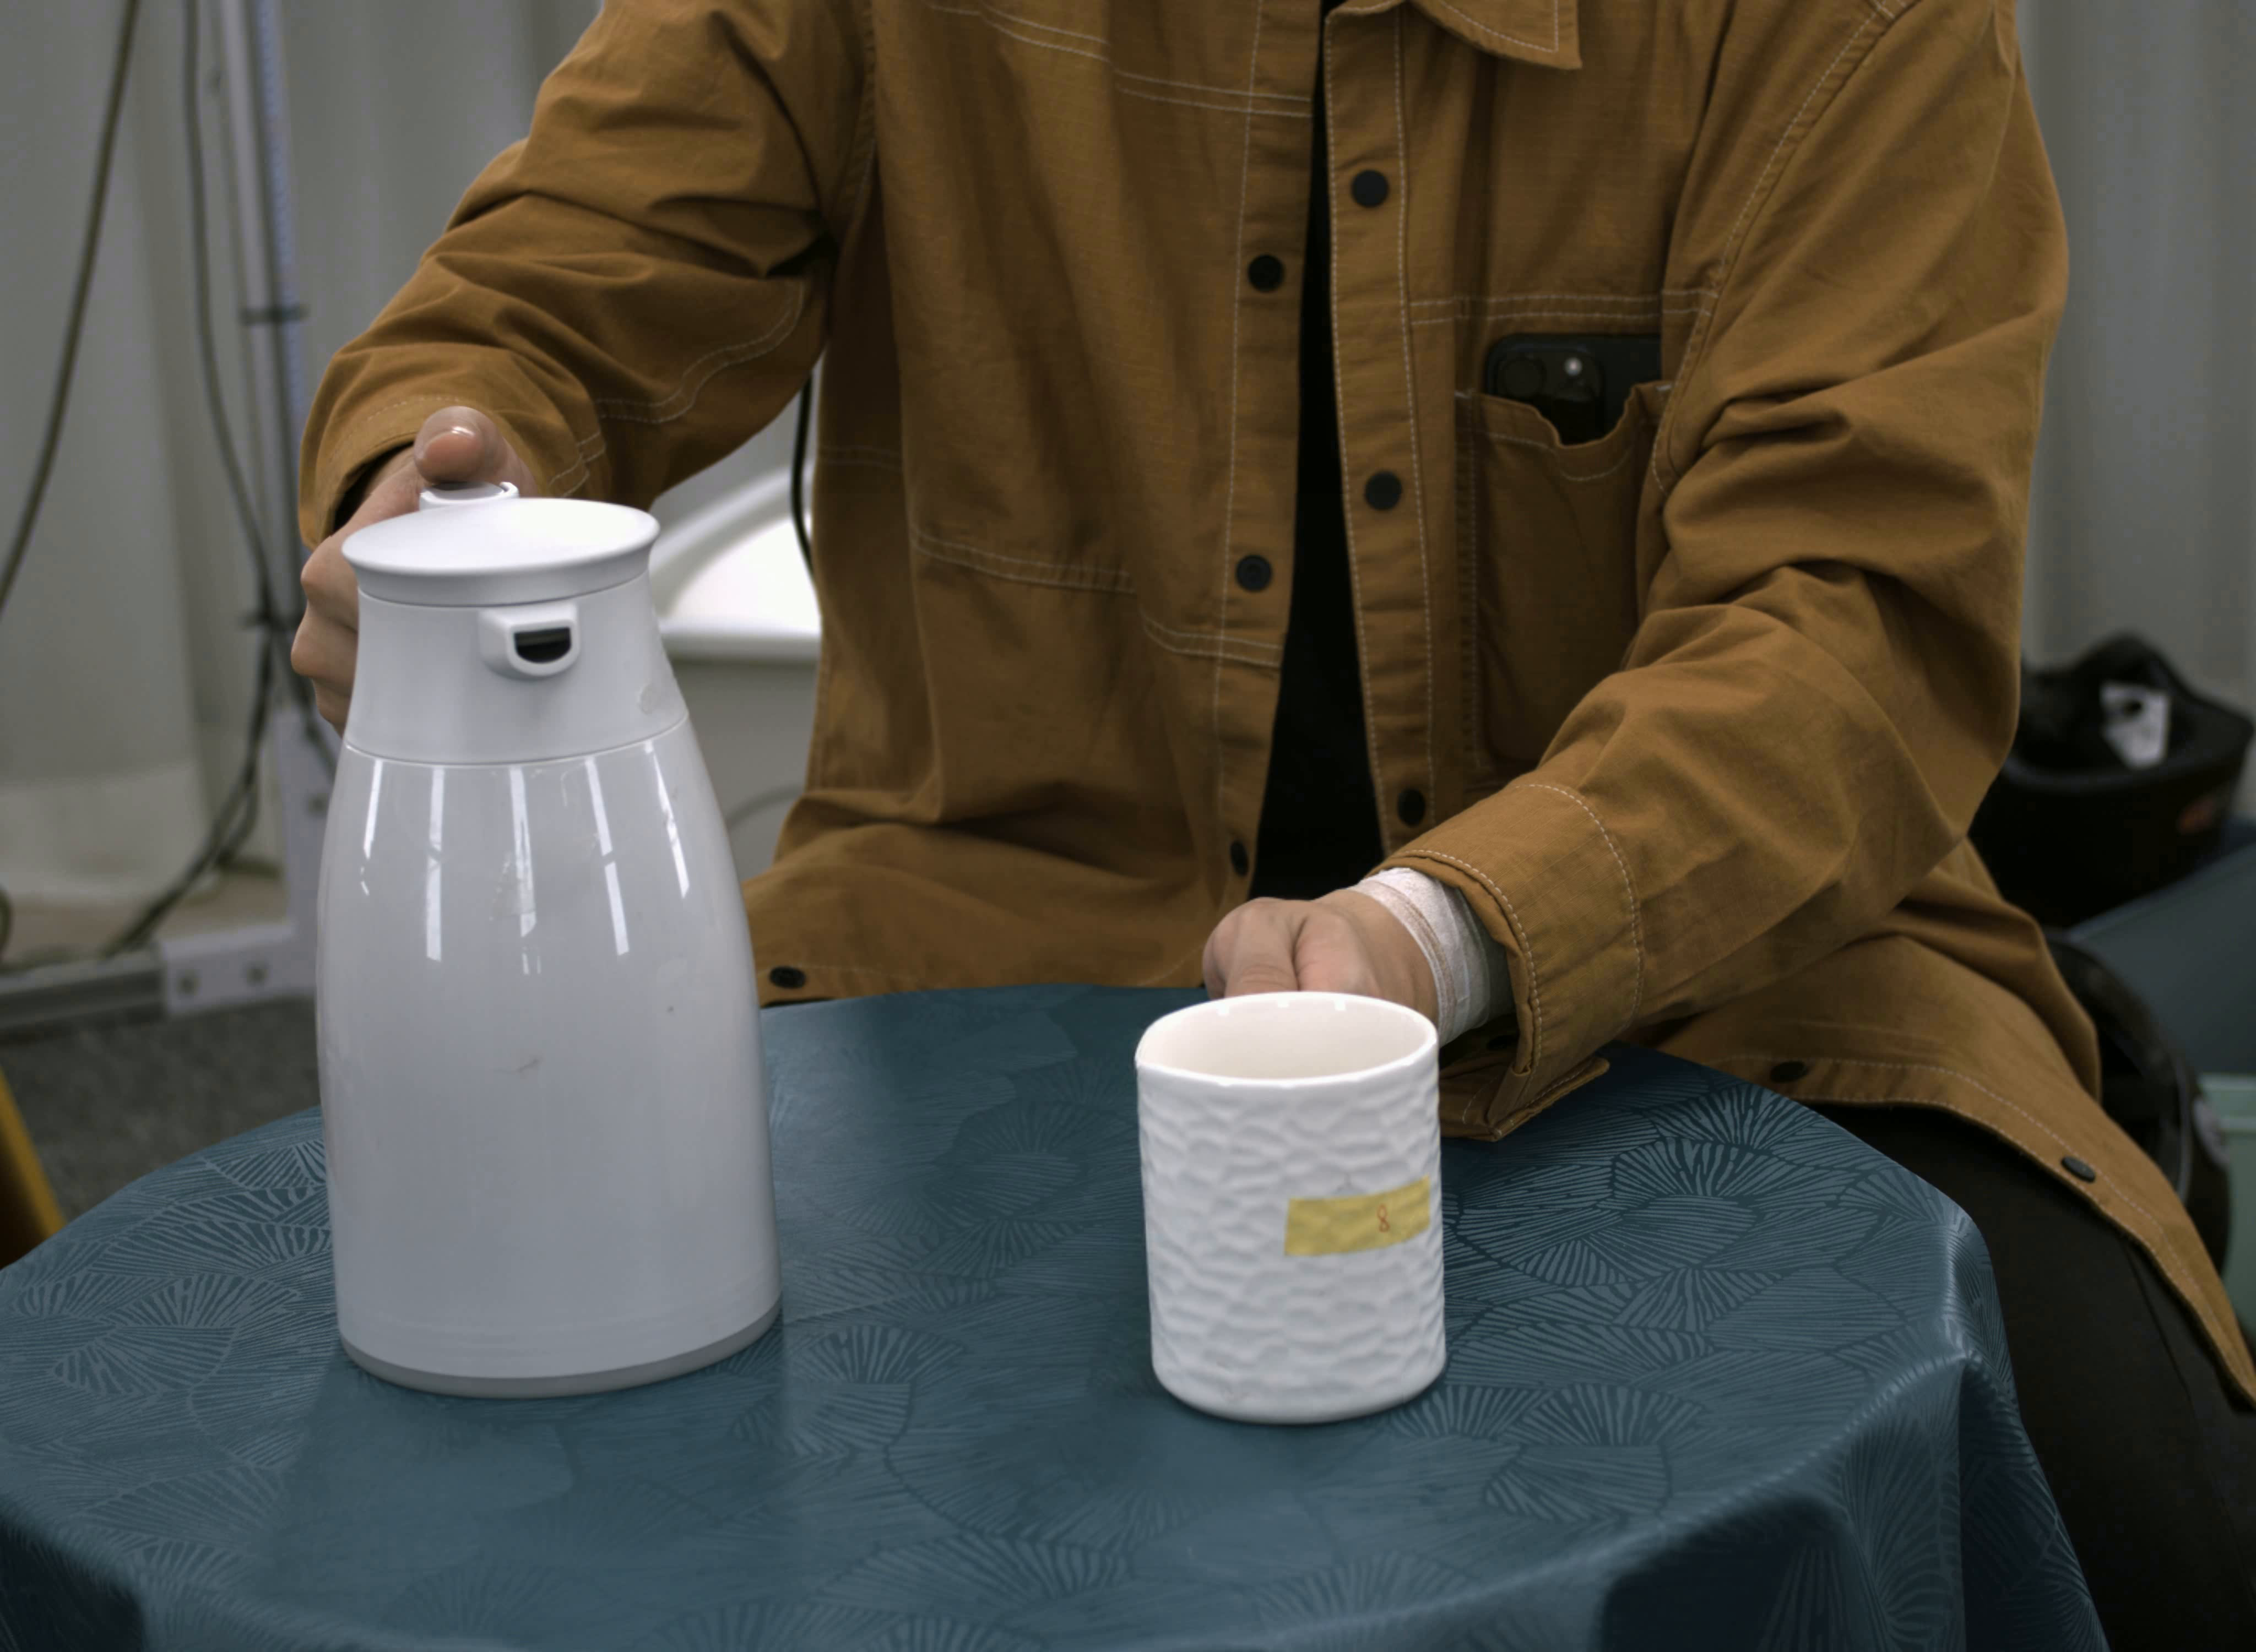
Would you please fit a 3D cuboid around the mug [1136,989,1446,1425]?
[{"bbox_3d":[0.044,0.103,1.550,0.084,0.101,0.119,-5,14,-8],"label":"mug"}]

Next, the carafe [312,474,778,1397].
[{"bbox_3d":[-0.181,0.023,1.613,0.132,0.248,0.169,-7,14,-16],"label":"carafe"}]
